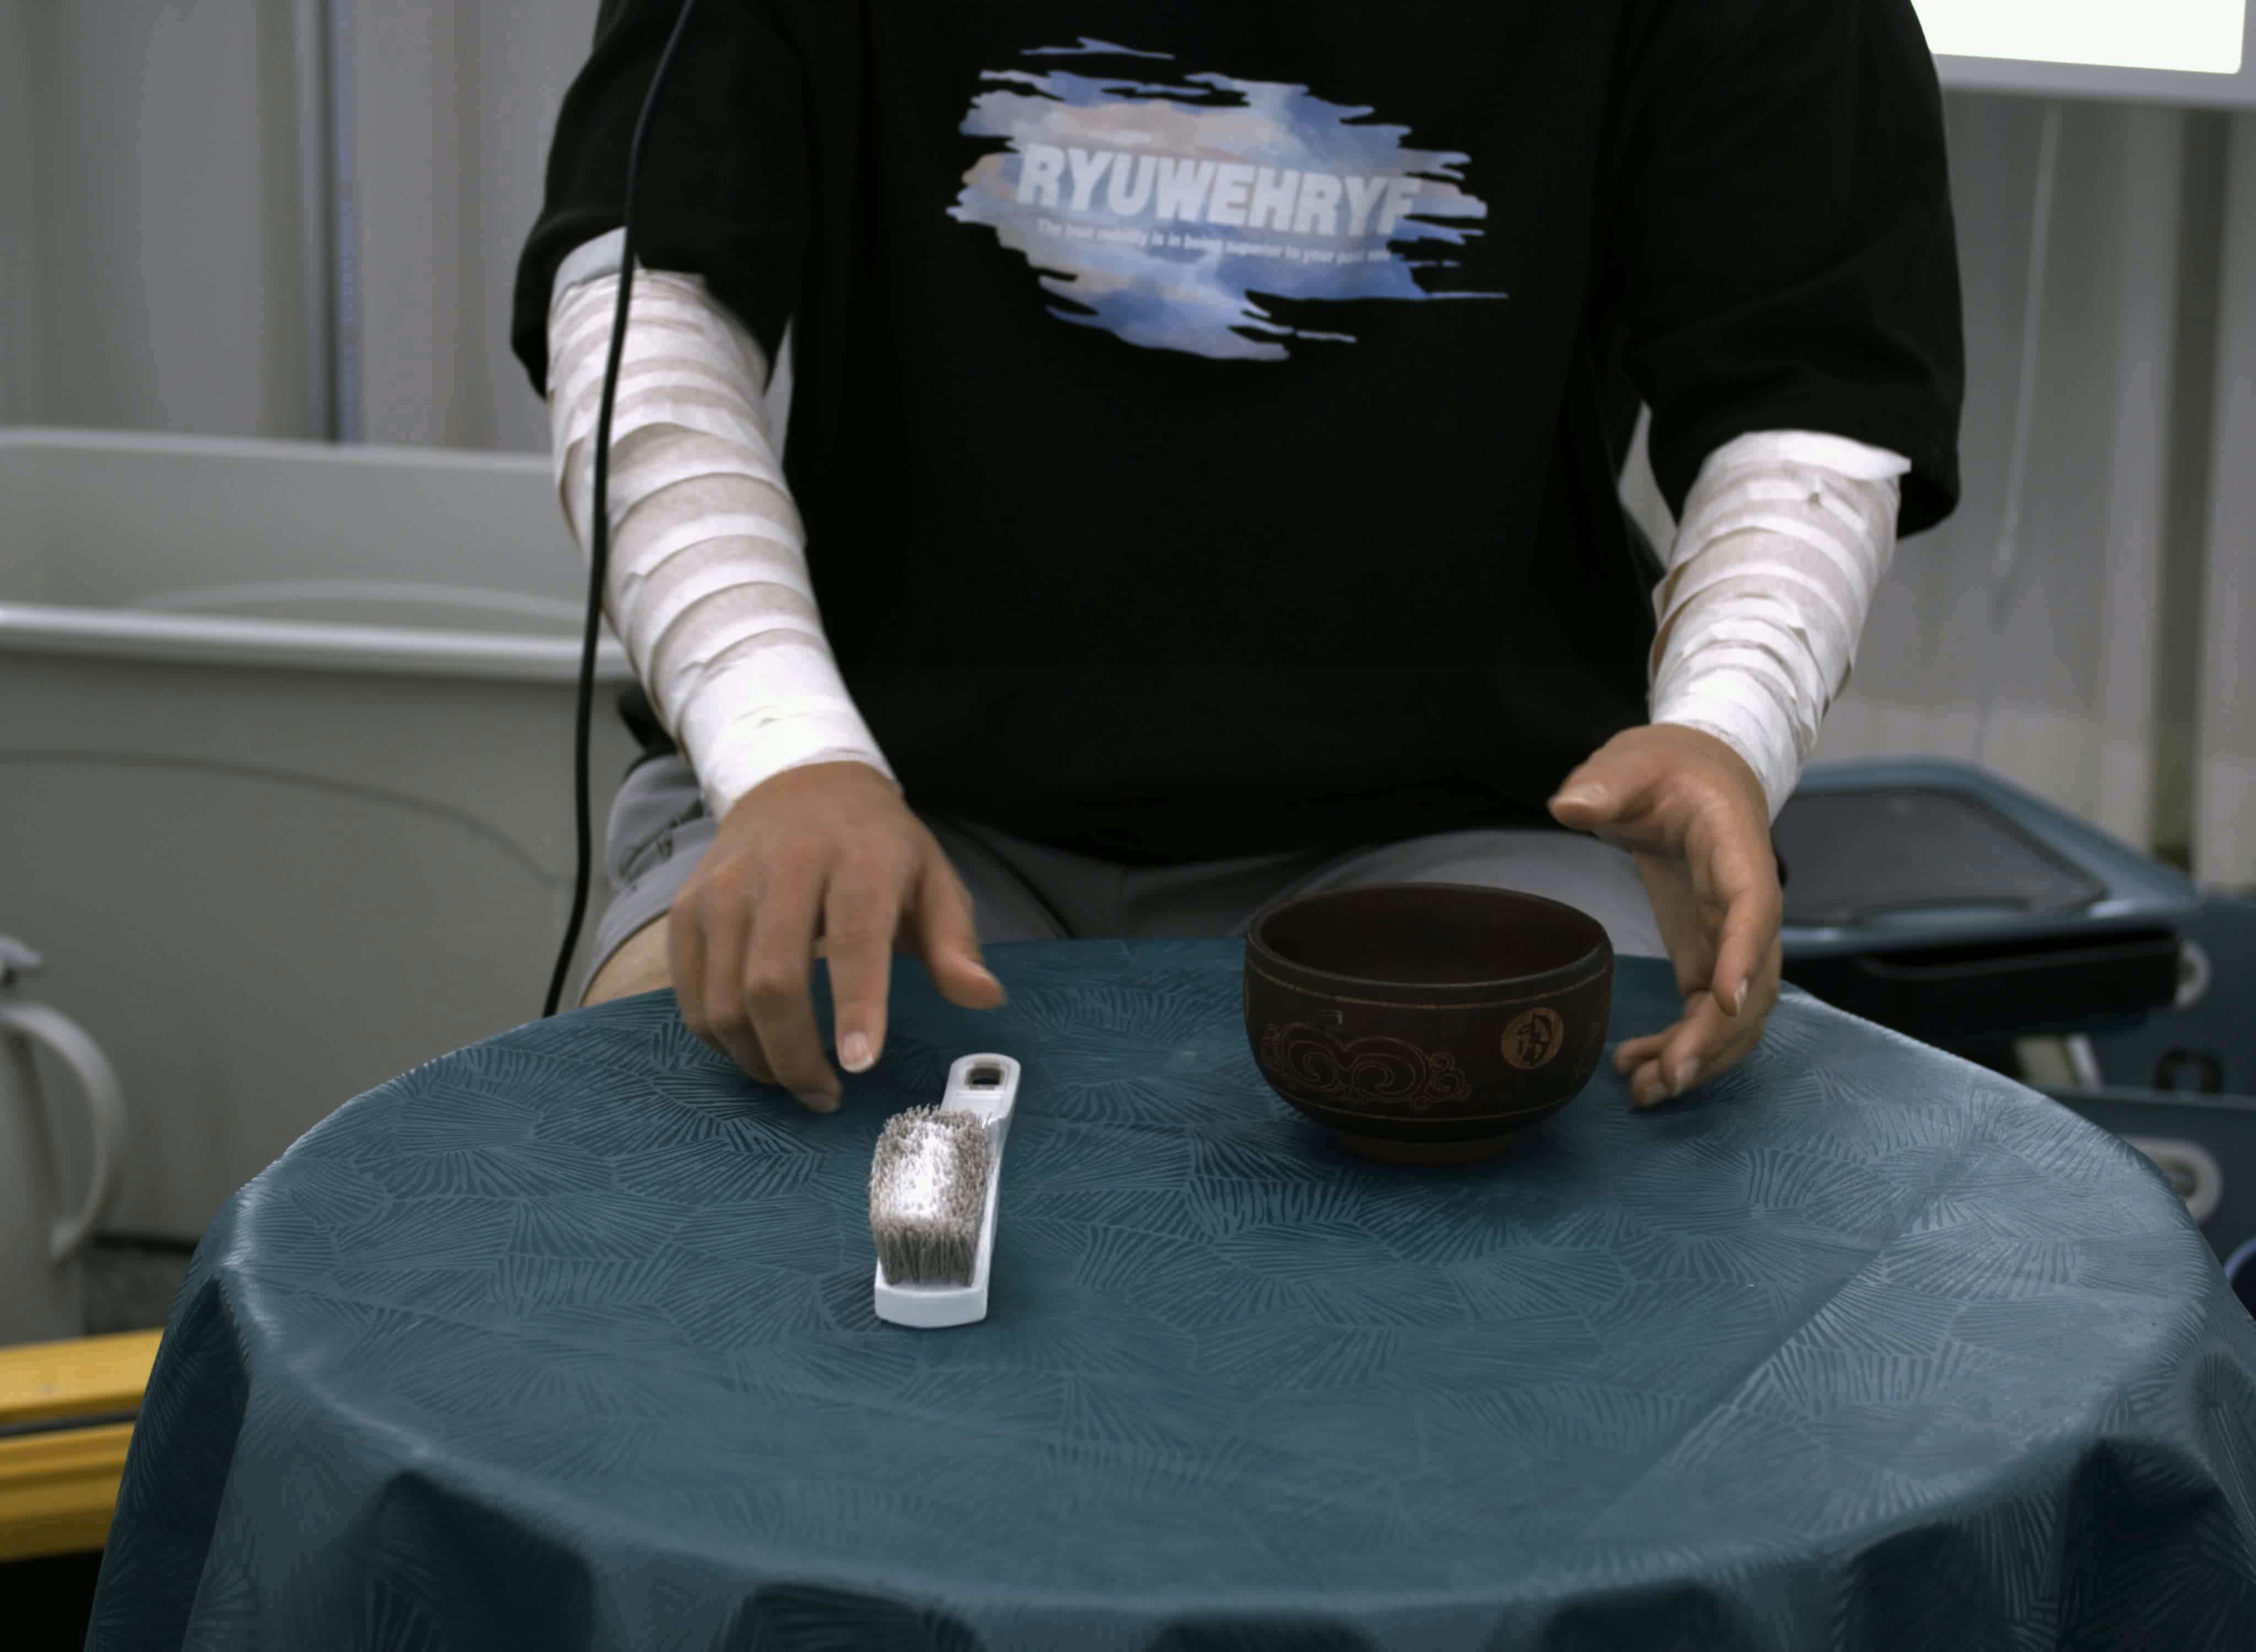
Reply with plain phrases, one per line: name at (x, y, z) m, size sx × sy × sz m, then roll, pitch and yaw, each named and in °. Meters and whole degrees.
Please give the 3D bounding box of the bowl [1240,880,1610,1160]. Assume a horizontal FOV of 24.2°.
bowl at (0.094, 0.064, 1.664) m, size 0.117 × 0.070 × 0.117 m, roll -1°, pitch 14°, yaw 1°

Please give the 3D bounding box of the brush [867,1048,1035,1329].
brush at (-0.050, 0.090, 1.606) m, size 0.034 × 0.050 × 0.242 m, roll 3°, pitch 16°, yaw 4°
